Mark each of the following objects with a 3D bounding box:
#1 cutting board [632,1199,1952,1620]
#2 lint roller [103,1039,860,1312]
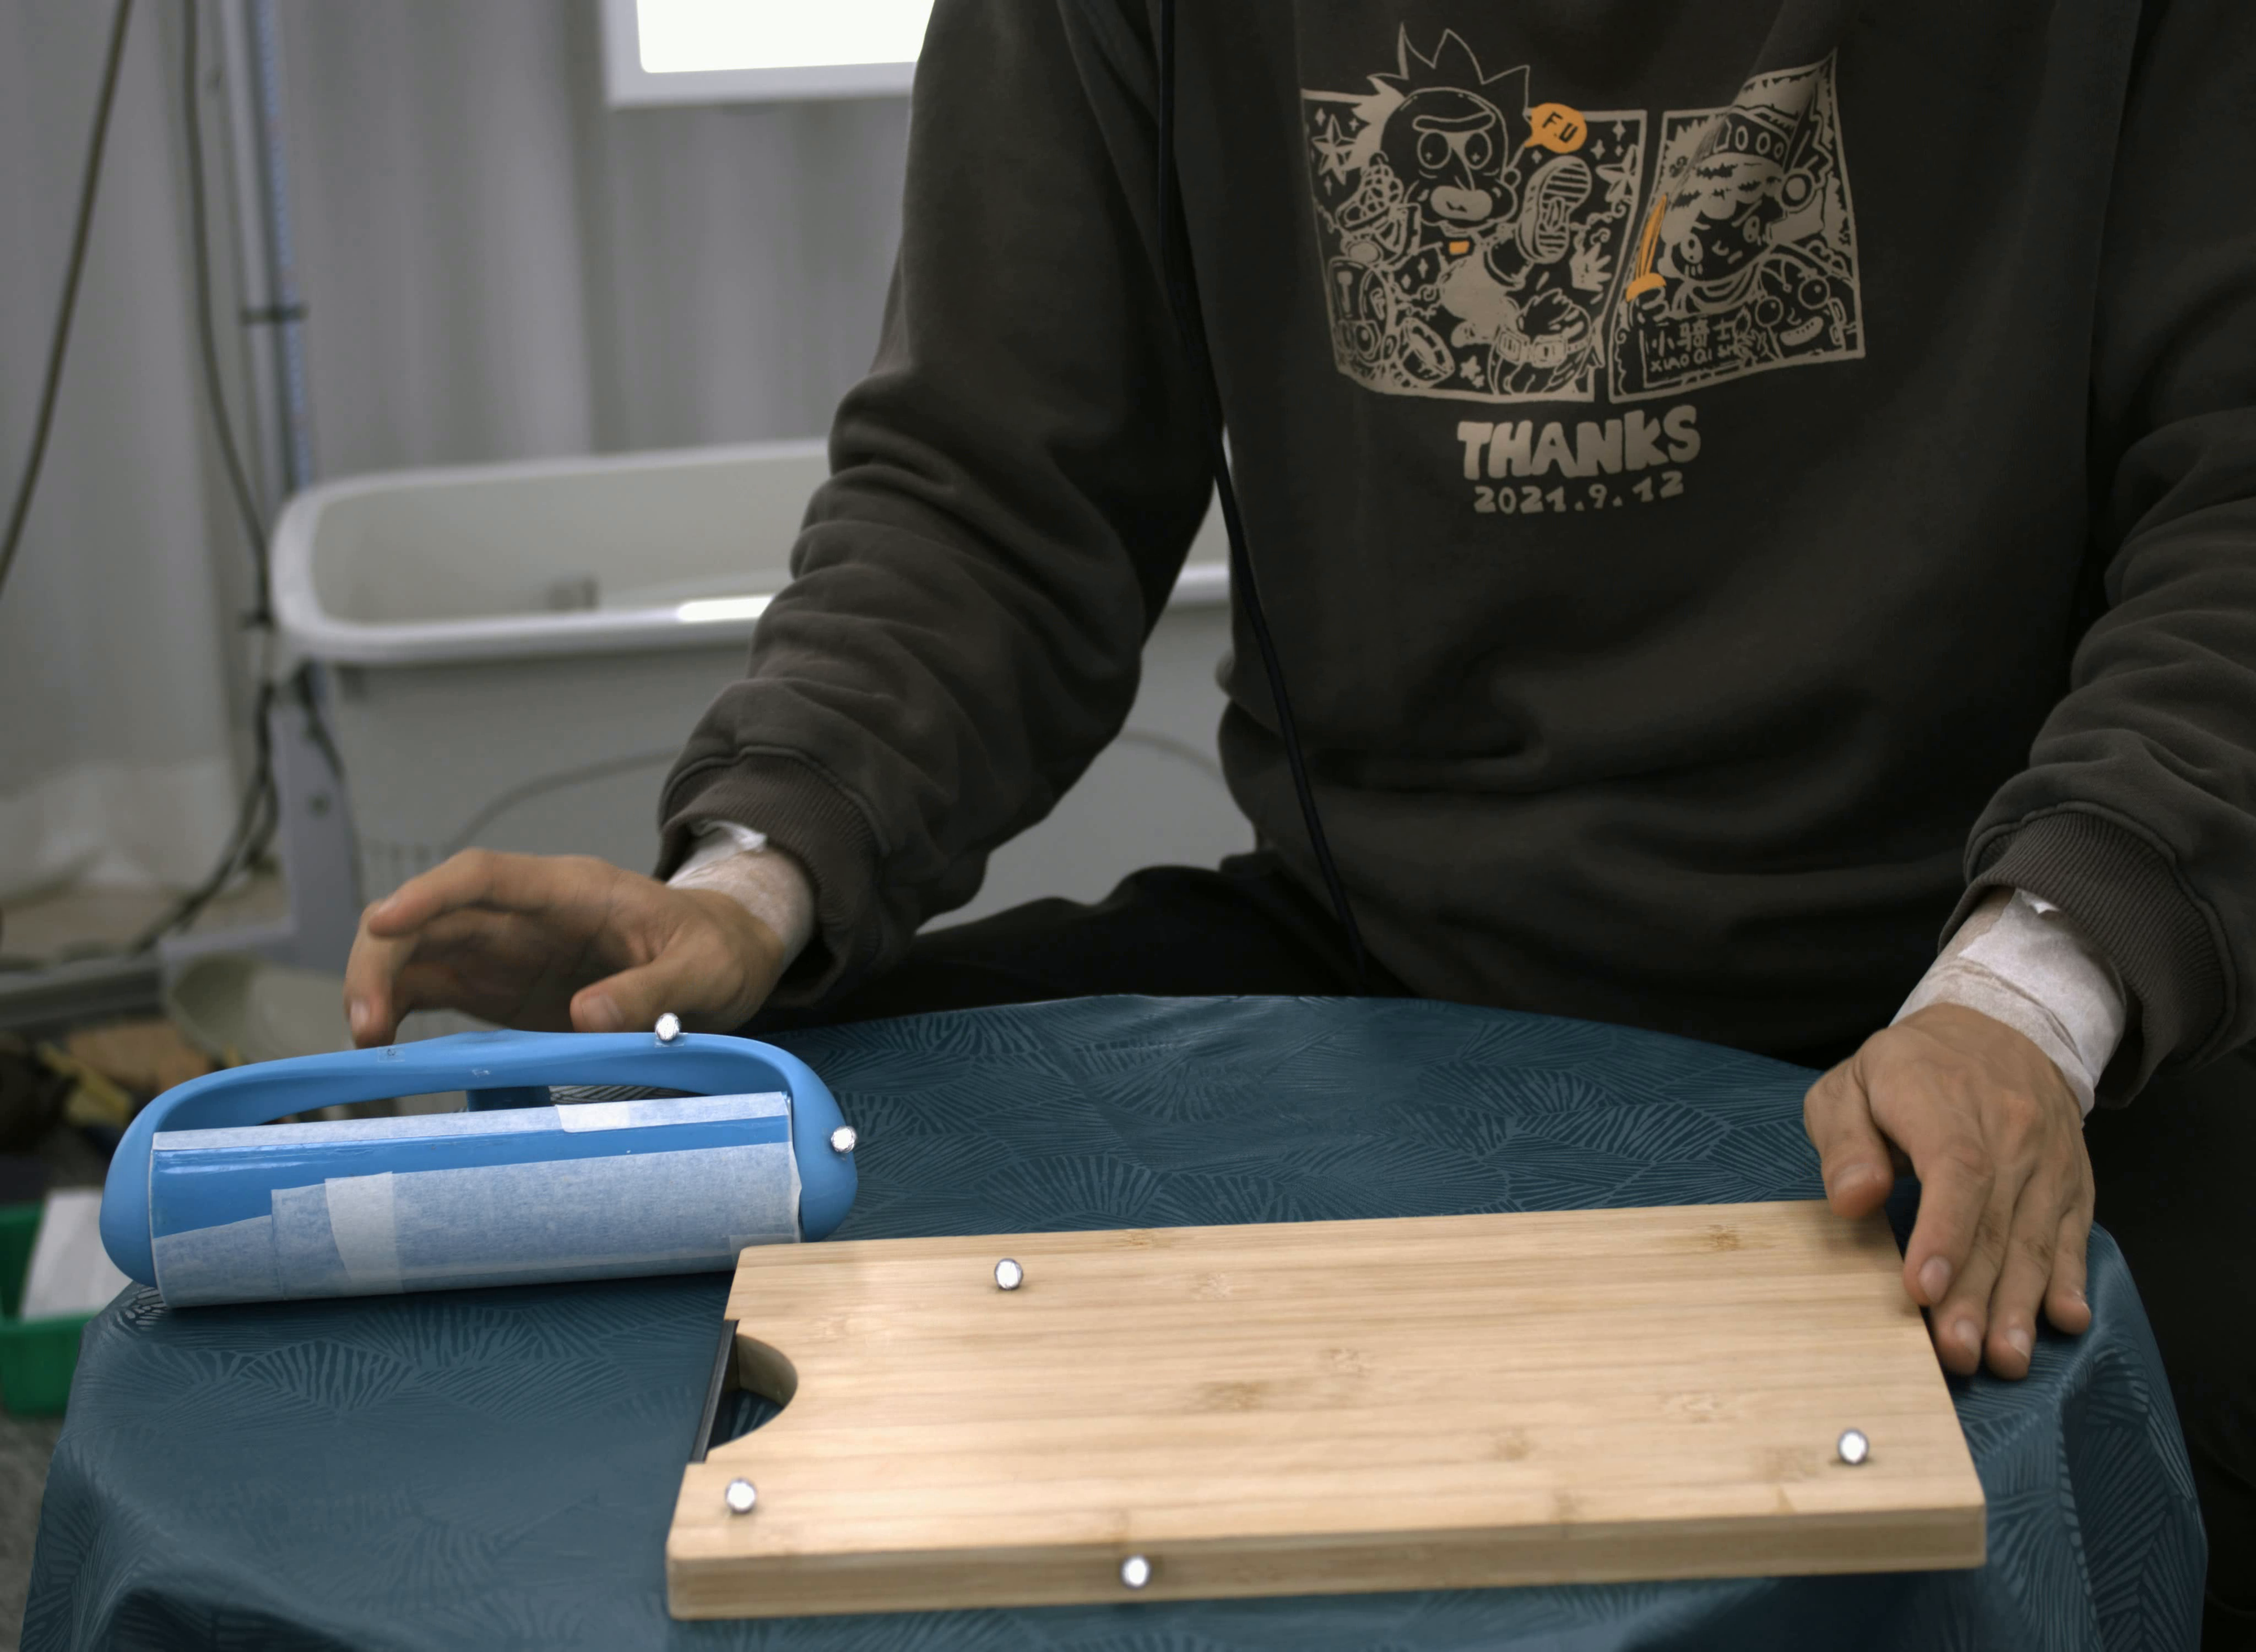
[{"bbox_3d":[0.046,0.159,1.517,0.347,0.023,0.252,-3,15,1],"label":"cutting board"},{"bbox_3d":[-0.203,0.098,1.716,0.228,0.067,0.181,-5,15,-6],"label":"lint roller"}]
